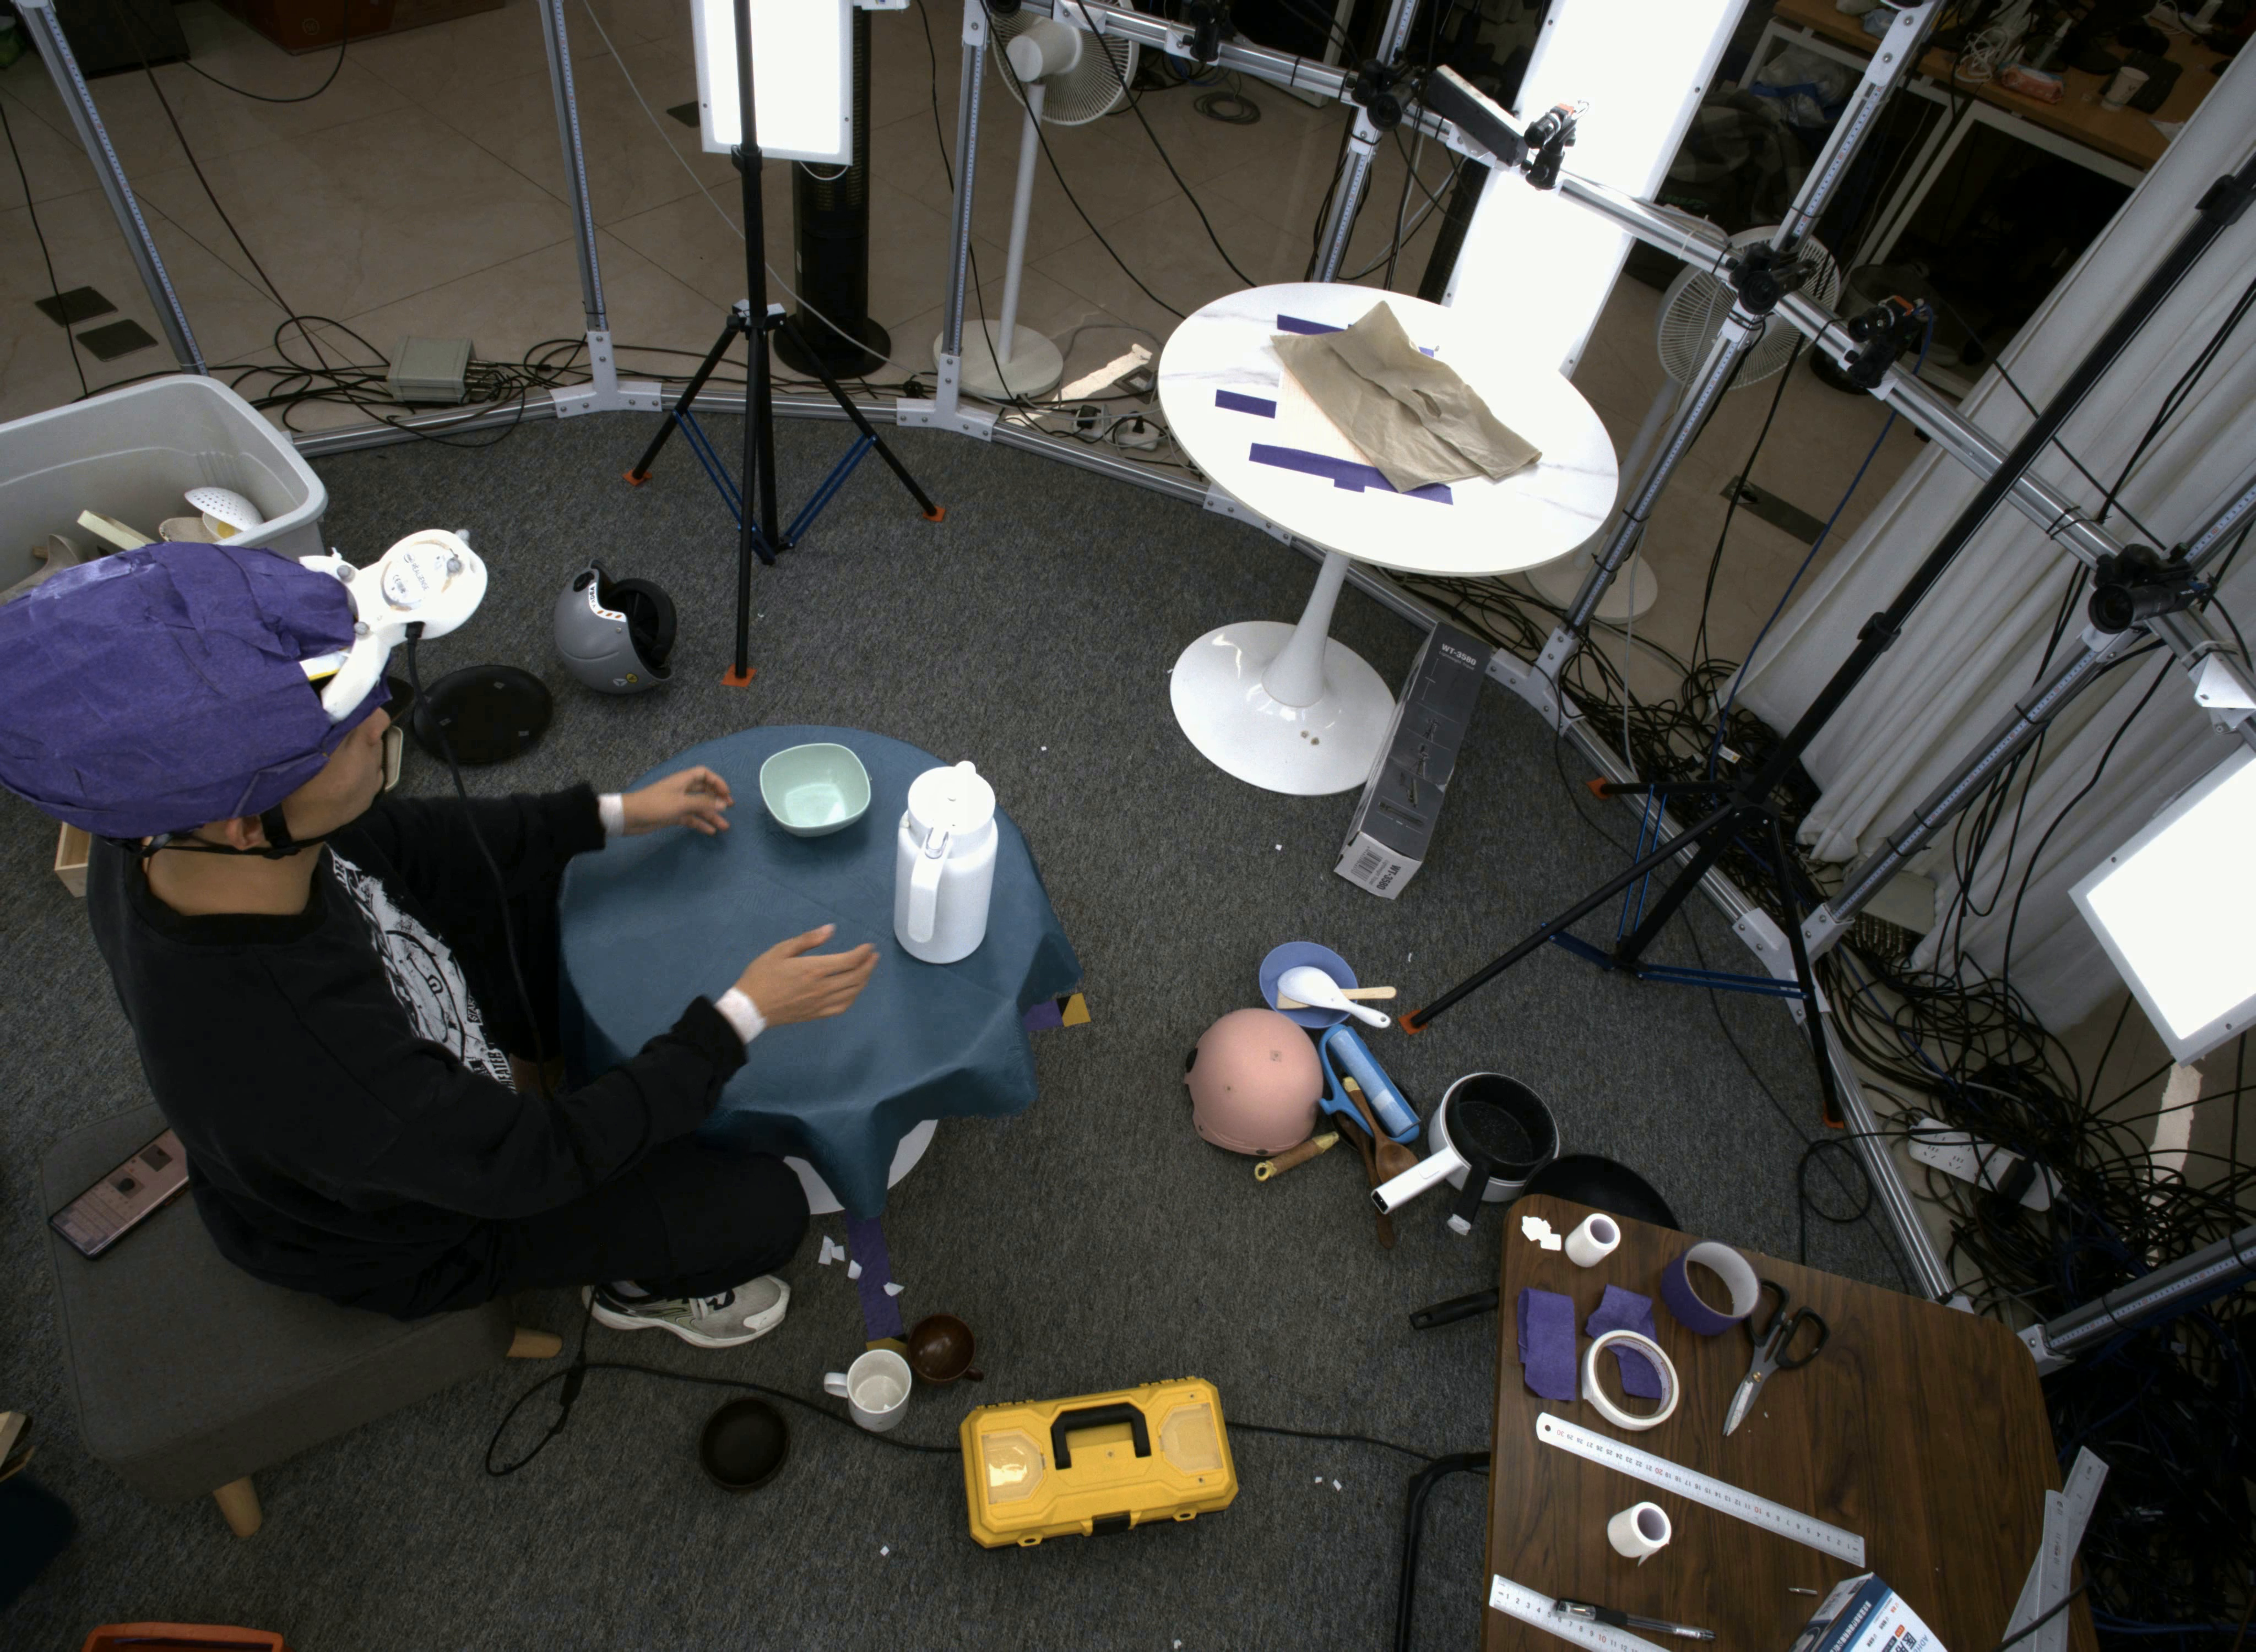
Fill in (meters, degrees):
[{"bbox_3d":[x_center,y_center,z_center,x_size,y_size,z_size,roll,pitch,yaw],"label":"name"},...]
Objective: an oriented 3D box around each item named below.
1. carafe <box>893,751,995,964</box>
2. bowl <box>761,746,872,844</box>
[{"bbox_3d":[-0.224,0.059,1.557,0.123,0.274,0.170,15,51,-2],"label":"carafe"},{"bbox_3d":[-0.410,-0.032,1.723,0.150,0.060,0.149,4,57,-5],"label":"bowl"}]
